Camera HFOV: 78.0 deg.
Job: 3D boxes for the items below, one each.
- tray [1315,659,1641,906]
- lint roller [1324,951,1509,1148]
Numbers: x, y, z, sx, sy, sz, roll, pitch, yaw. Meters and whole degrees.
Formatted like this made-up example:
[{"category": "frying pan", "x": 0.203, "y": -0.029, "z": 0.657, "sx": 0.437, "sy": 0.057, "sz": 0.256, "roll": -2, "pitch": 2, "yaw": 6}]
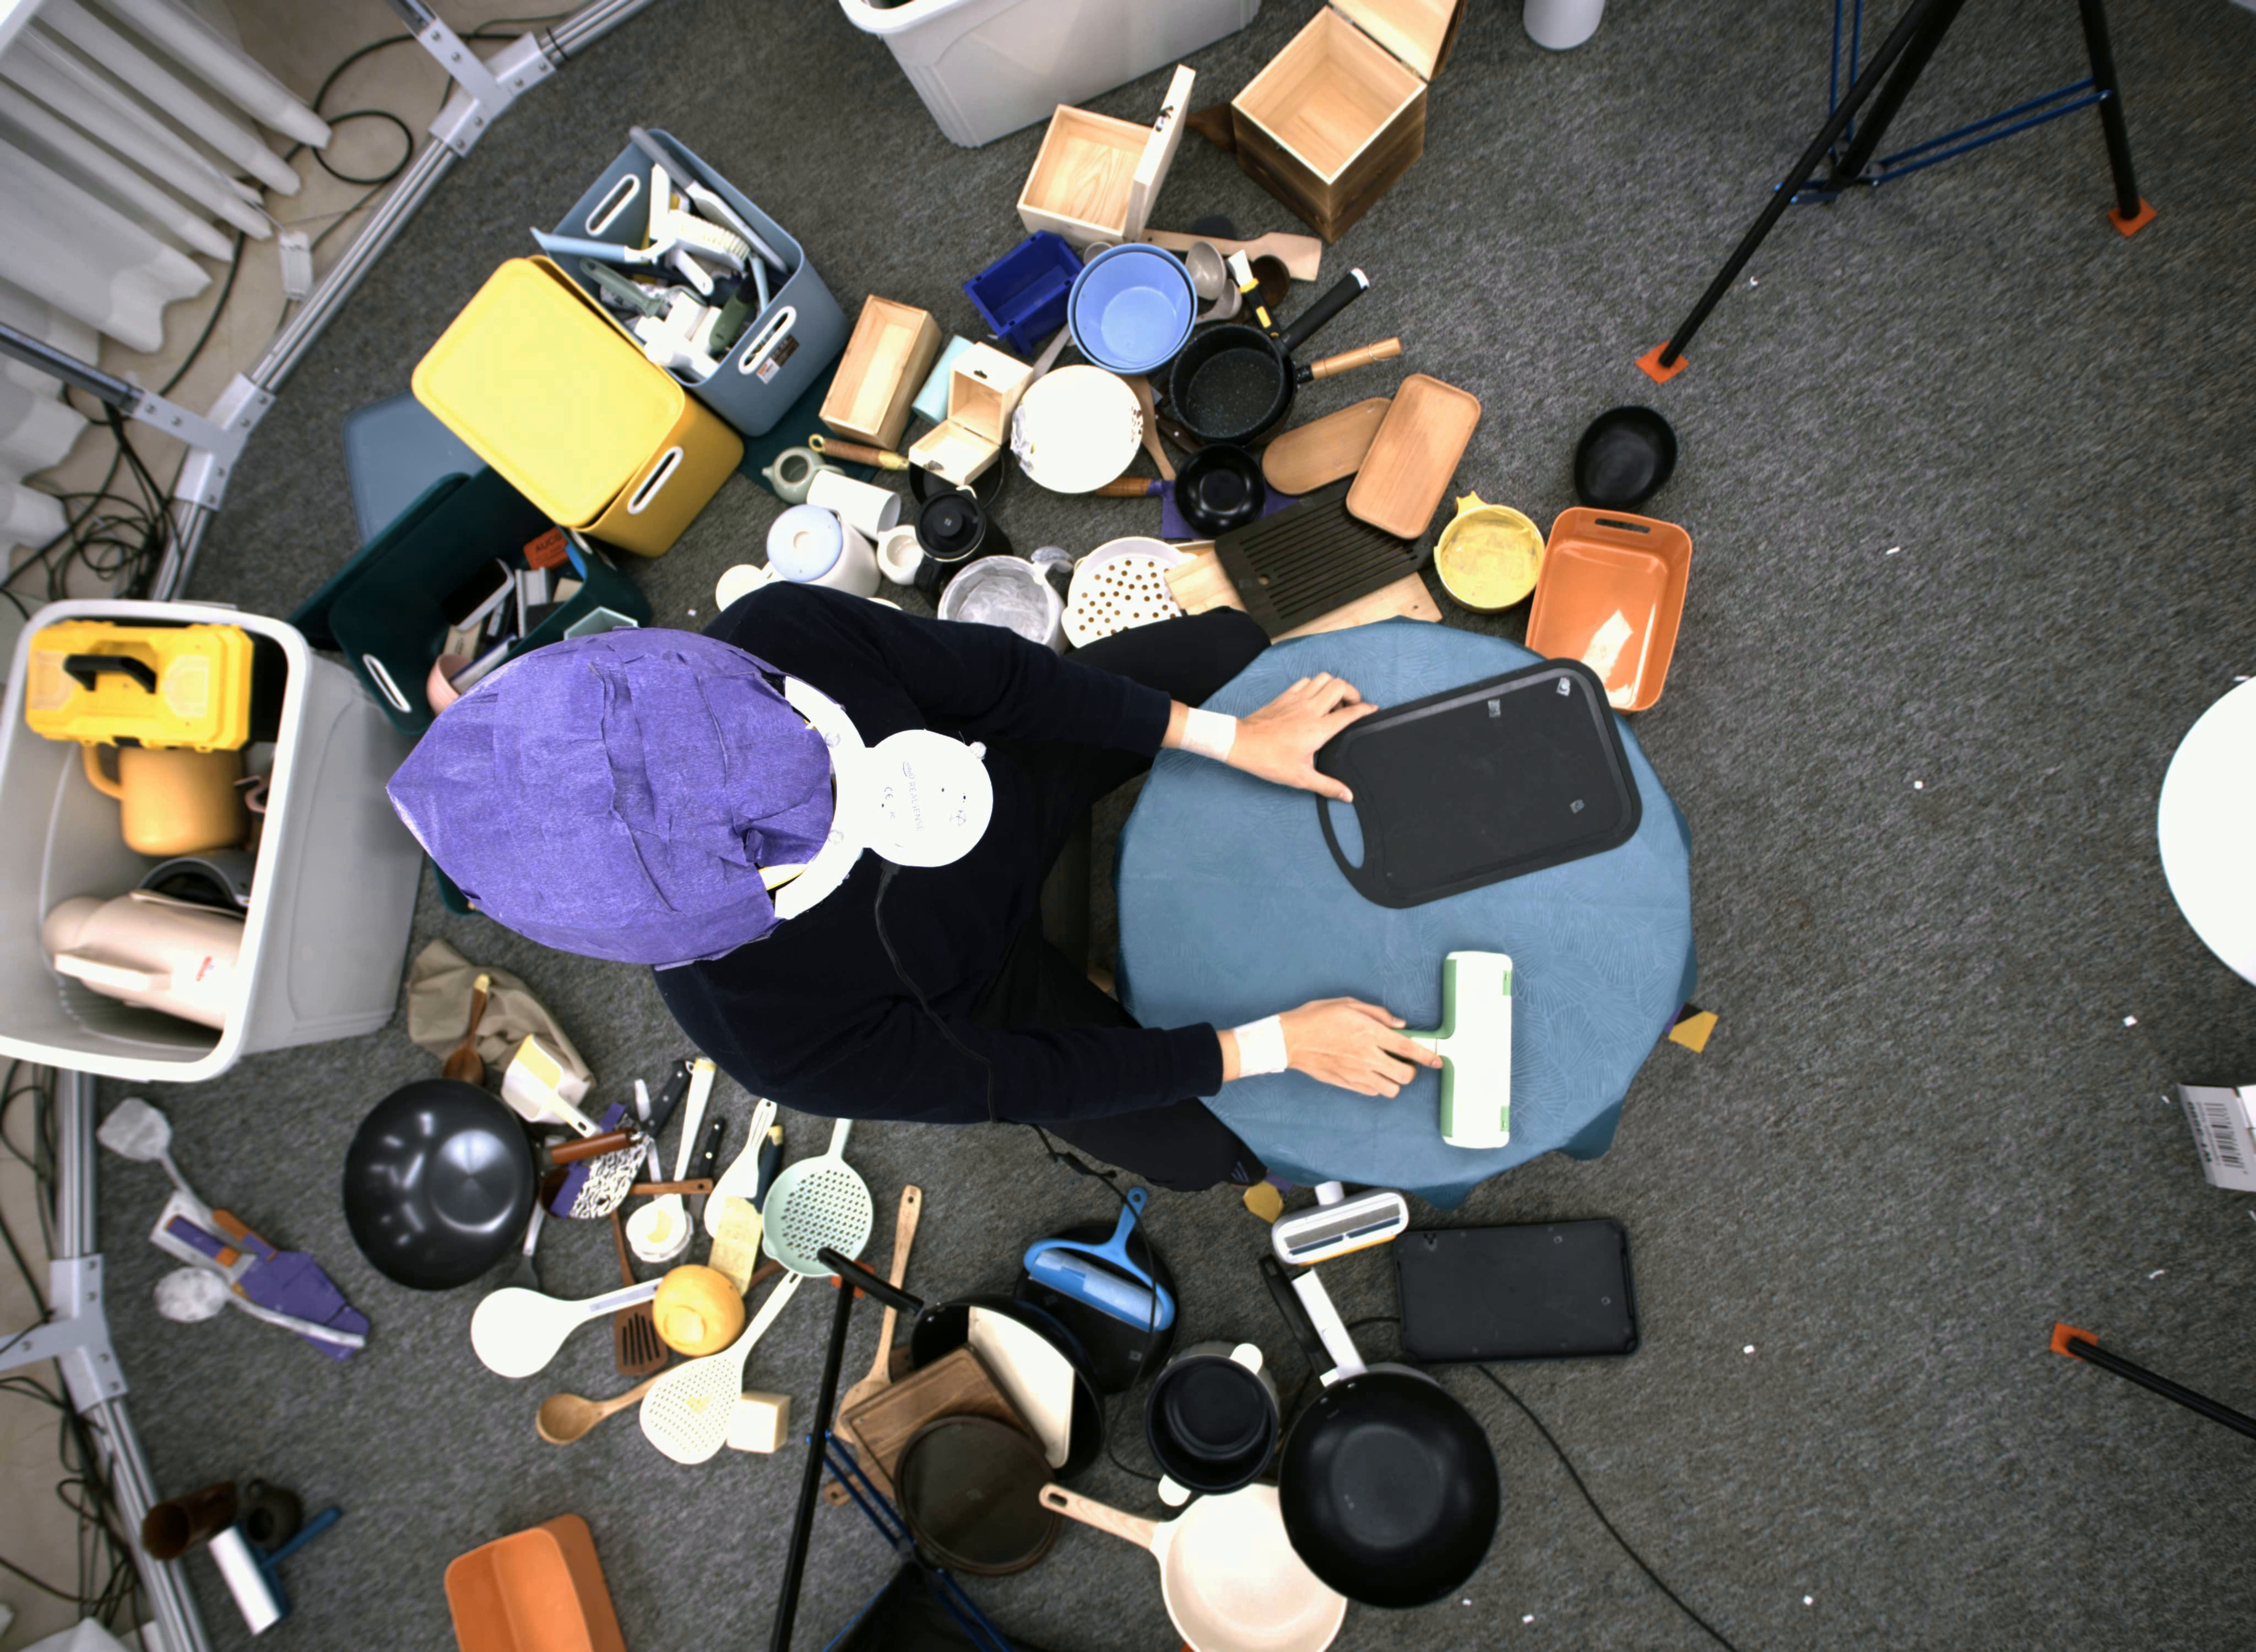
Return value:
[{"category": "tray", "x": 0.360, "y": -0.044, "z": 1.444, "sx": 0.327, "sy": 0.010, "sz": 0.210, "roll": -16, "pitch": 86, "yaw": 9}, {"category": "lint roller", "x": 0.295, "y": 0.222, "z": 1.400, "sx": 0.183, "sy": 0.082, "sz": 0.197, "roll": 2, "pitch": 86, "yaw": 0}]
